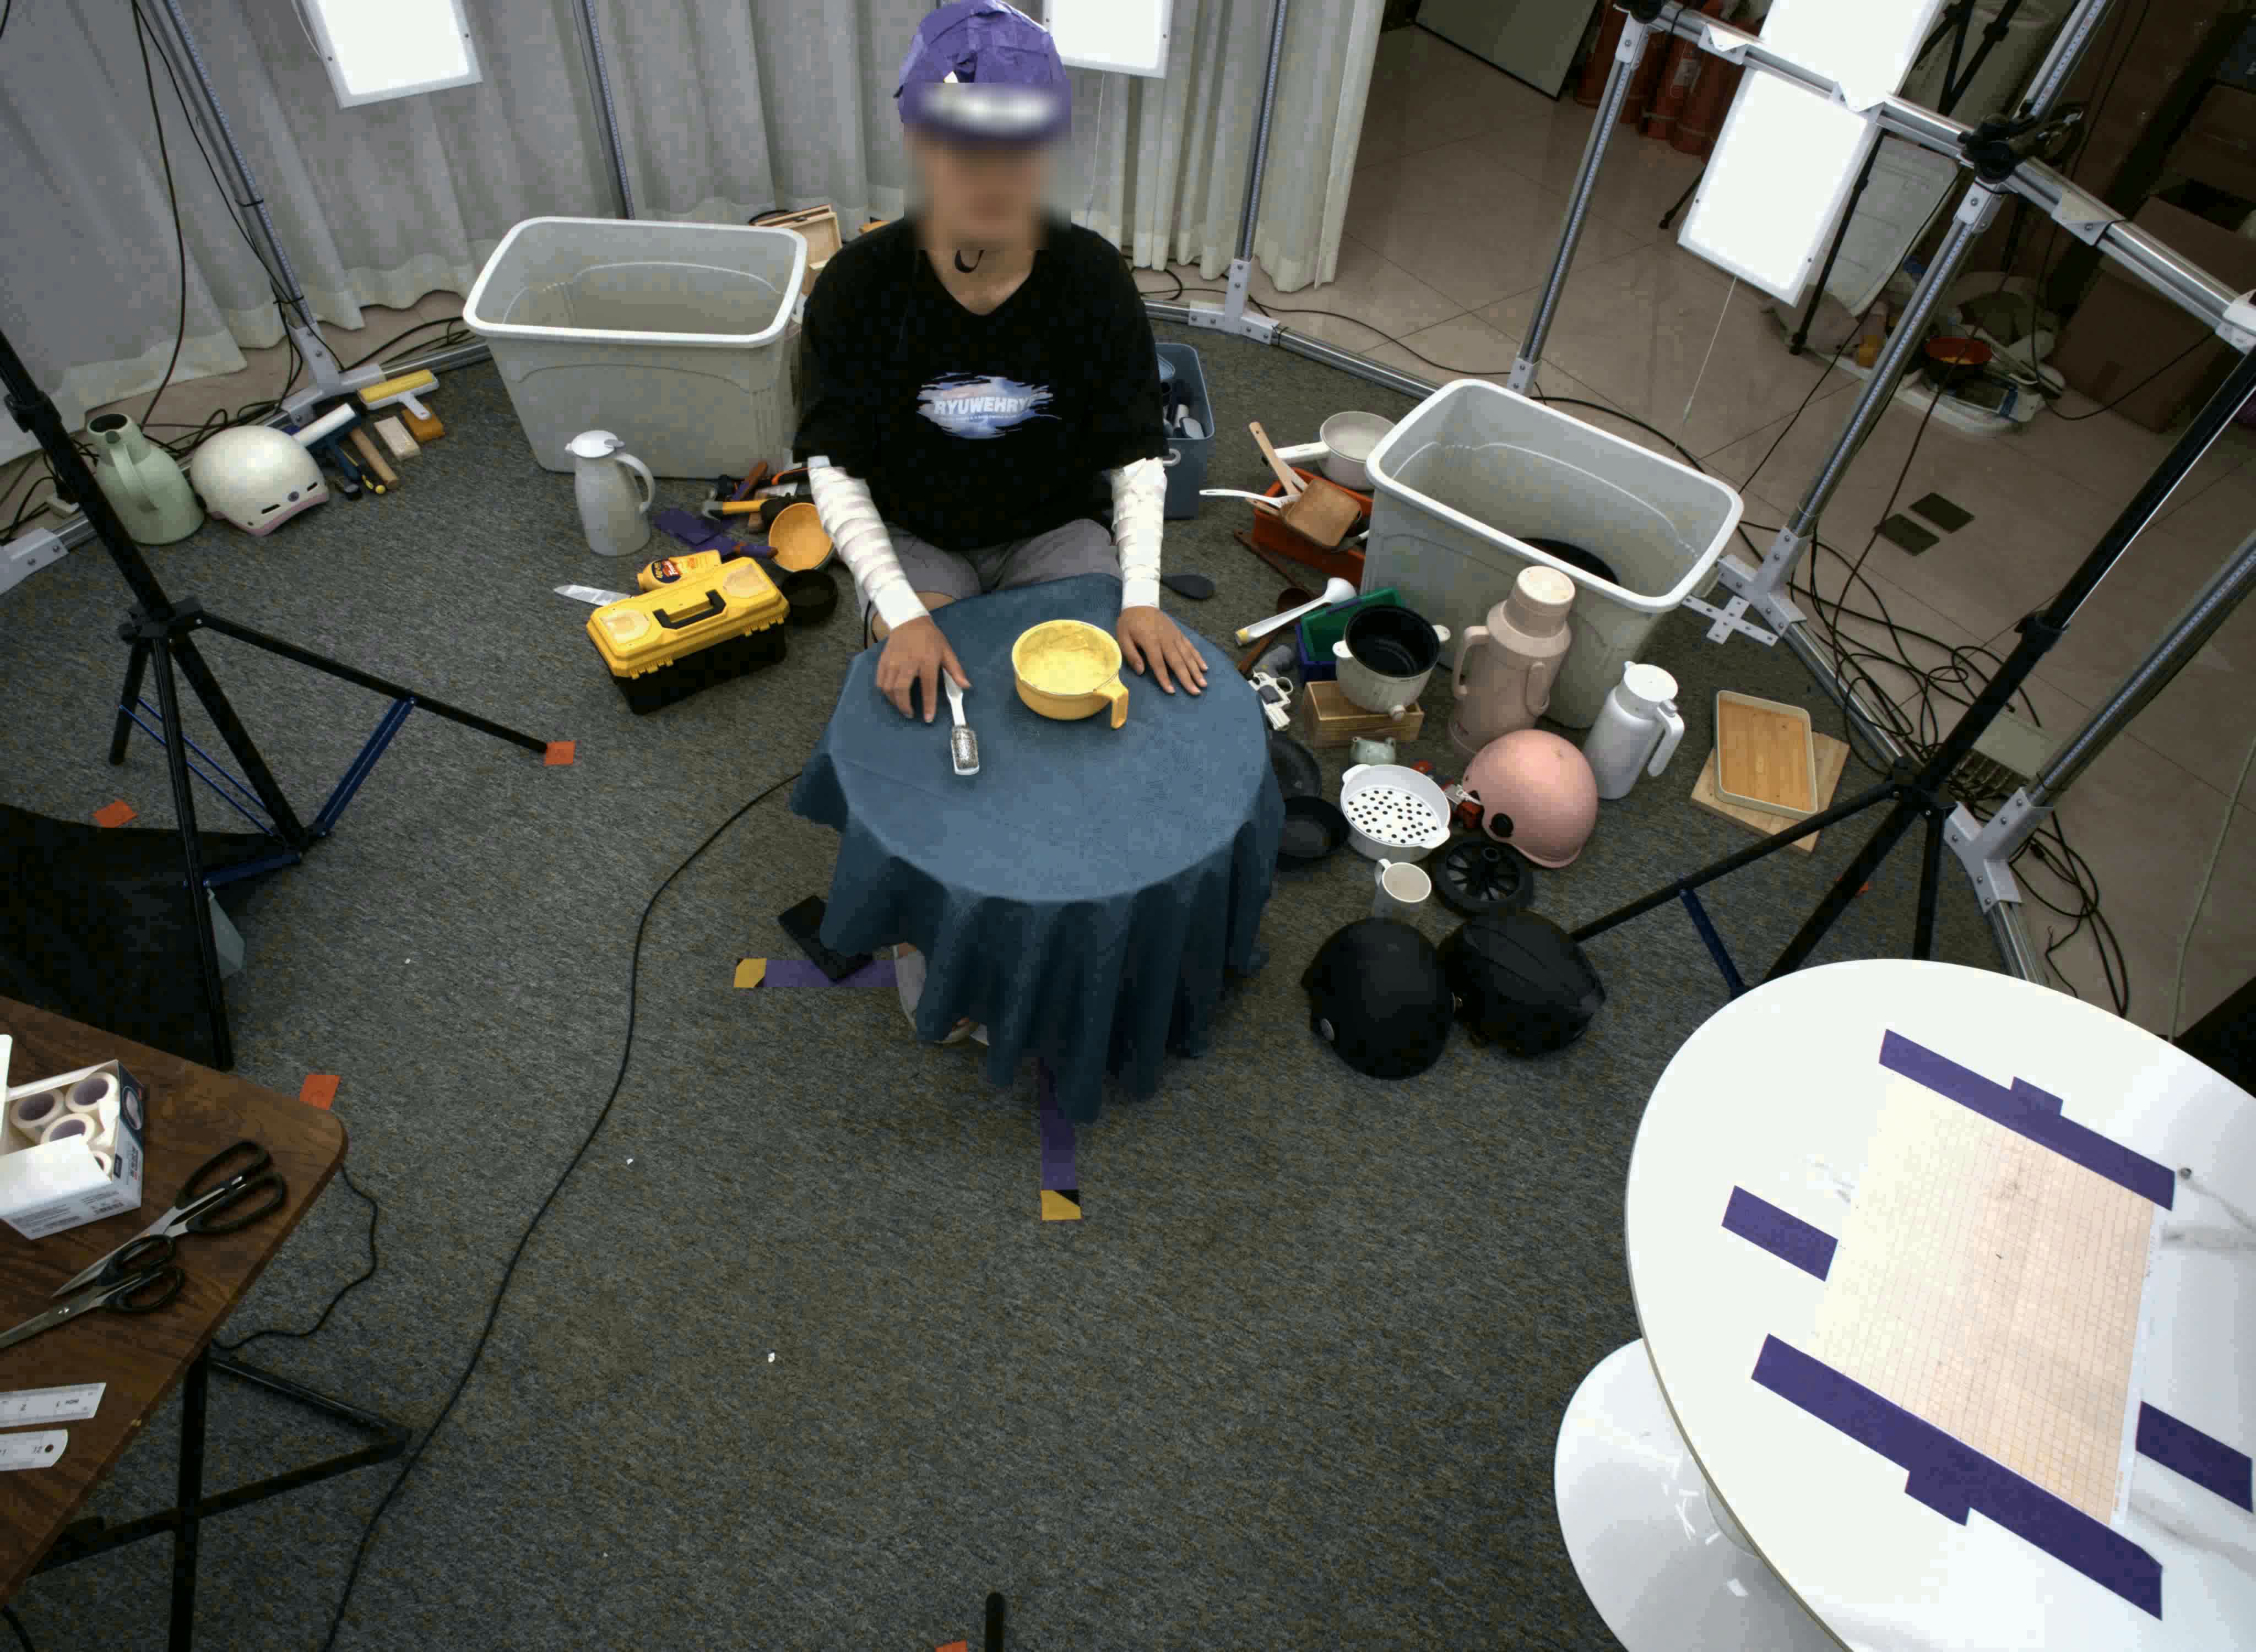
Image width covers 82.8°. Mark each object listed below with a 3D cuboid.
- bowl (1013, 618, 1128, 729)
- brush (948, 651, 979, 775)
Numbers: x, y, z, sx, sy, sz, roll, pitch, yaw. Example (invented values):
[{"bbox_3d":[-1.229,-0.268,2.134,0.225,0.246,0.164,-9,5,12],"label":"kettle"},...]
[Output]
[{"bbox_3d":[-0.076,-0.210,1.804,0.181,0.072,0.155,33,51,21],"label":"bowl"},{"bbox_3d":[-0.230,-0.169,1.772,0.034,0.049,0.250,-5,51,-6],"label":"brush"}]
